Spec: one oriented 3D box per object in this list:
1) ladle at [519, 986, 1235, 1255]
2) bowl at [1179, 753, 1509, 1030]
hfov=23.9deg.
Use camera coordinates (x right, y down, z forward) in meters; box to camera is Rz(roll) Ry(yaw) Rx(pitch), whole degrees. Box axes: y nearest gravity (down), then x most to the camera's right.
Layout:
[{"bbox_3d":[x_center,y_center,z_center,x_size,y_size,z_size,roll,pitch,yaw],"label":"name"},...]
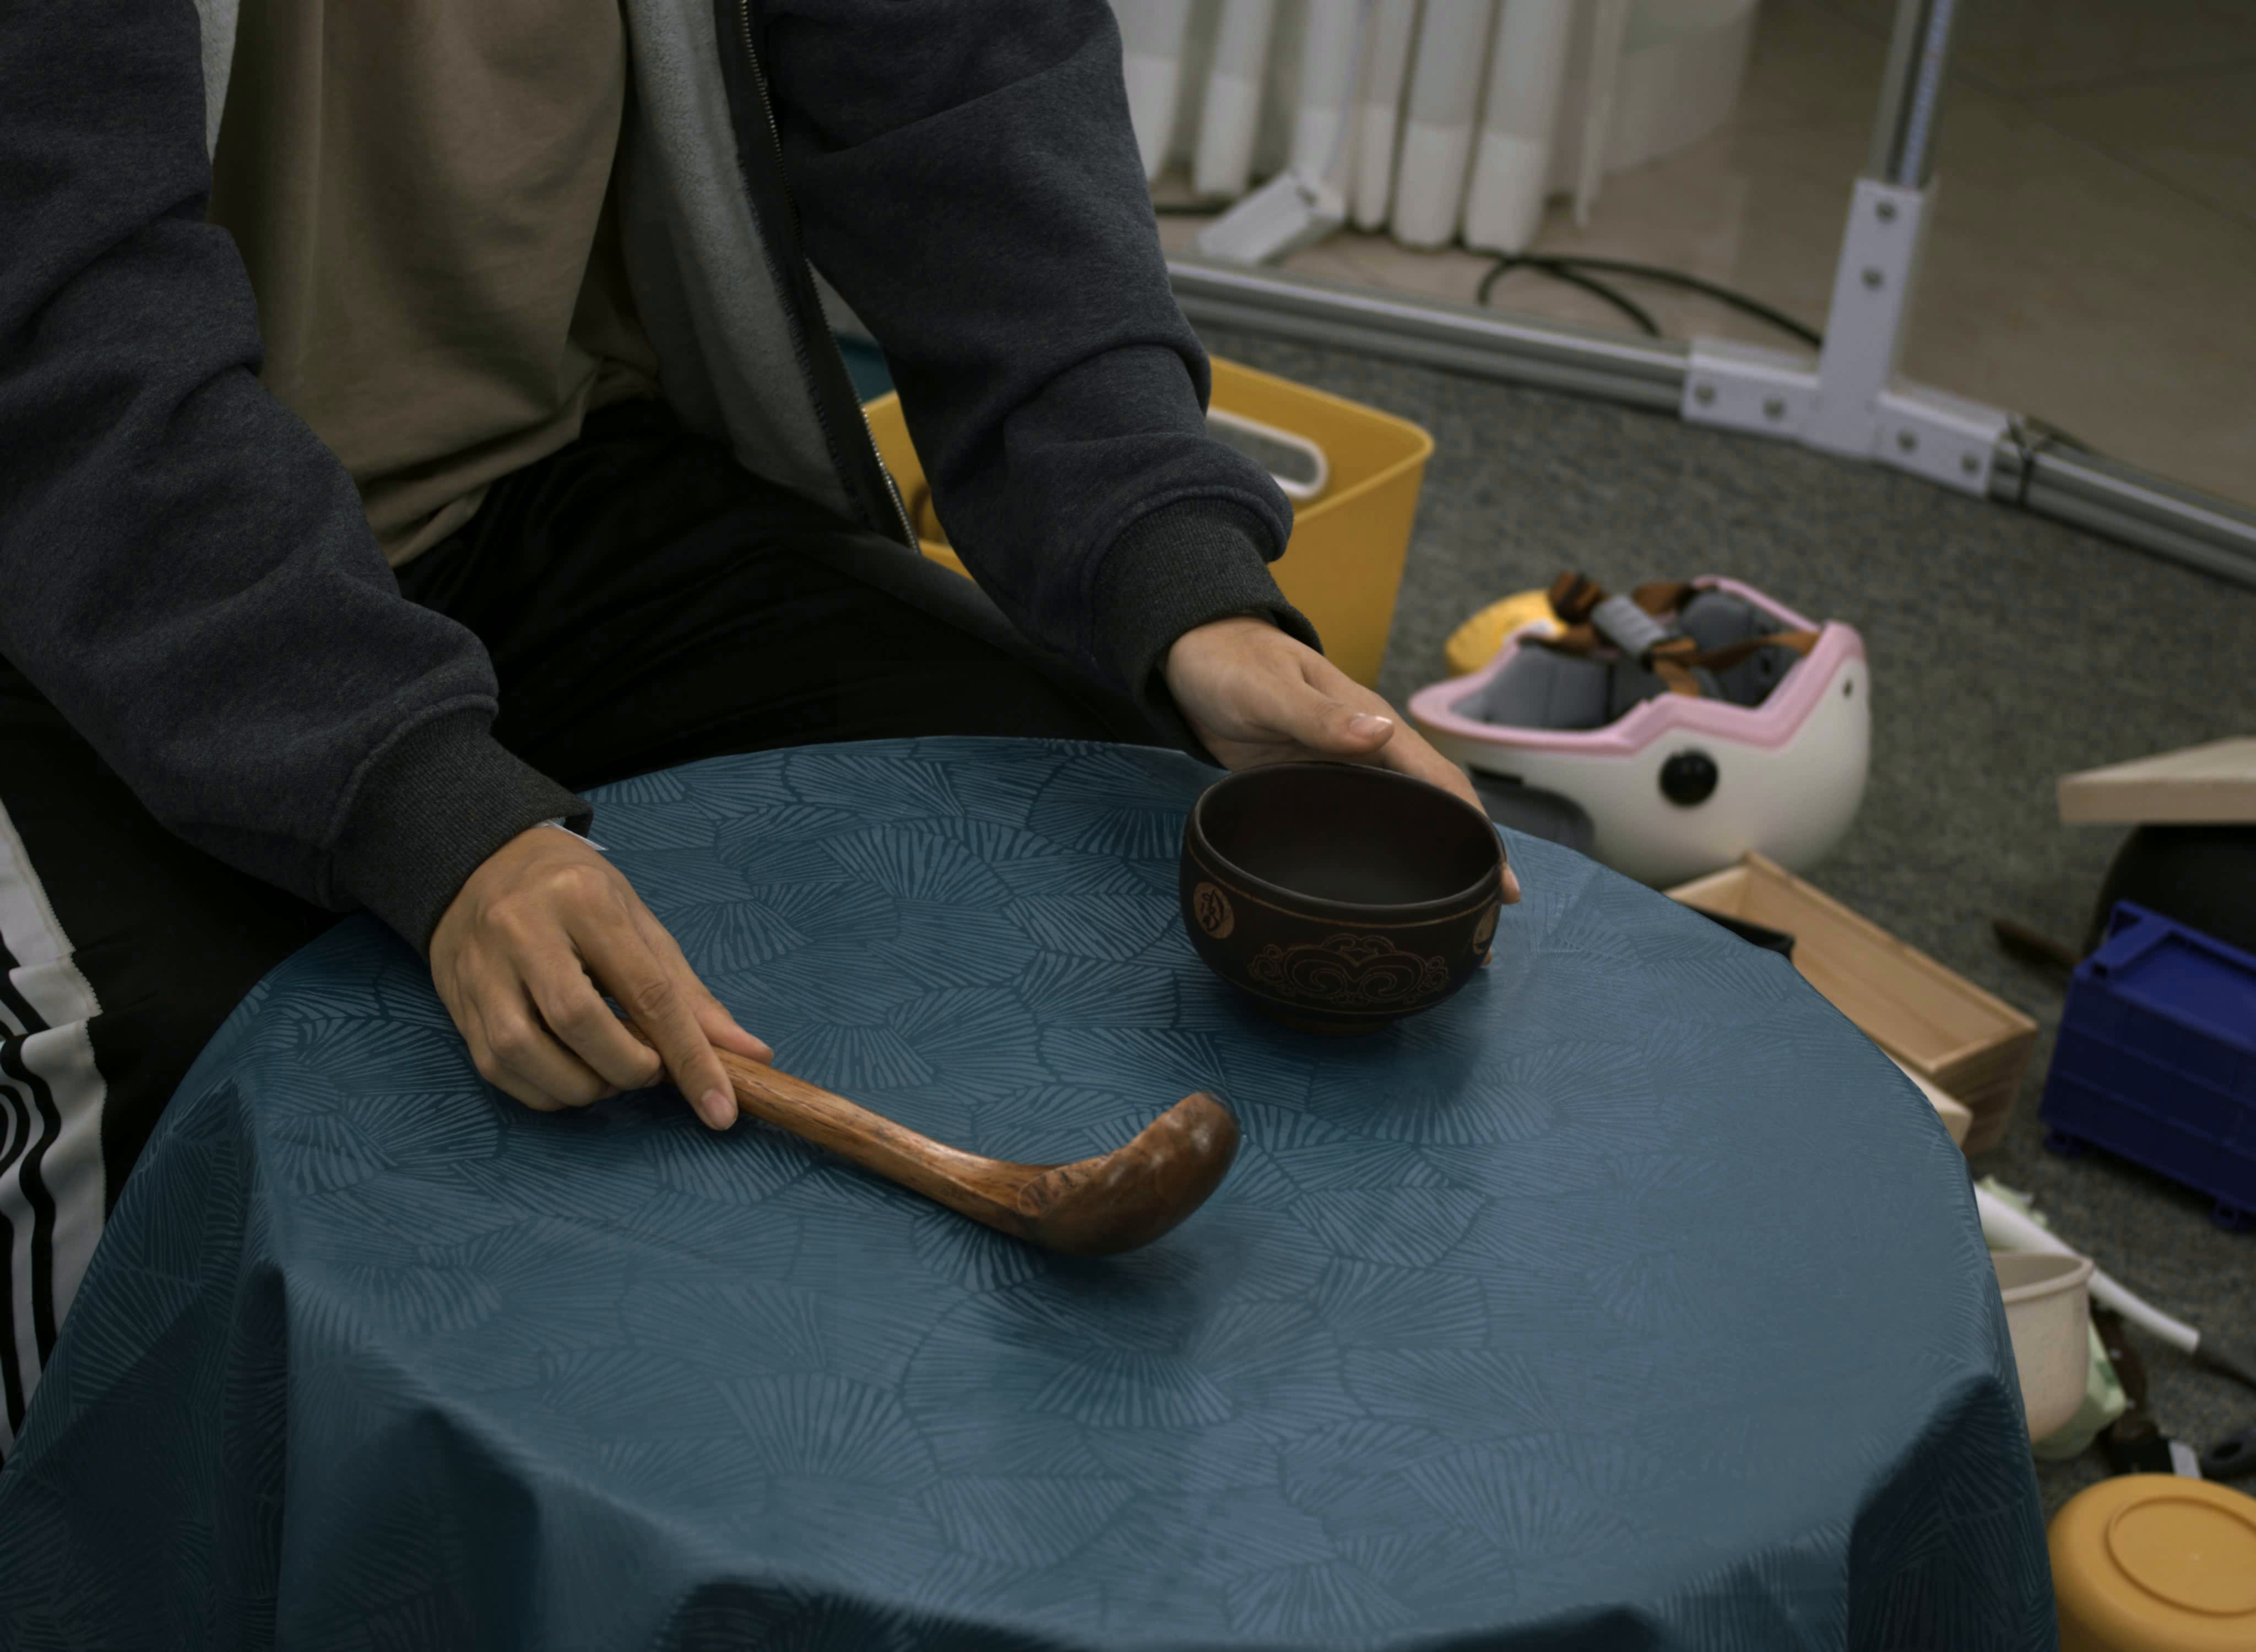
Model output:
[{"bbox_3d":[-0.090,0.078,1.784,0.275,0.076,0.081,21,24,26],"label":"ladle"},{"bbox_3d":[0.076,0.030,1.920,0.117,0.069,0.119,5,27,-3],"label":"bowl"}]
